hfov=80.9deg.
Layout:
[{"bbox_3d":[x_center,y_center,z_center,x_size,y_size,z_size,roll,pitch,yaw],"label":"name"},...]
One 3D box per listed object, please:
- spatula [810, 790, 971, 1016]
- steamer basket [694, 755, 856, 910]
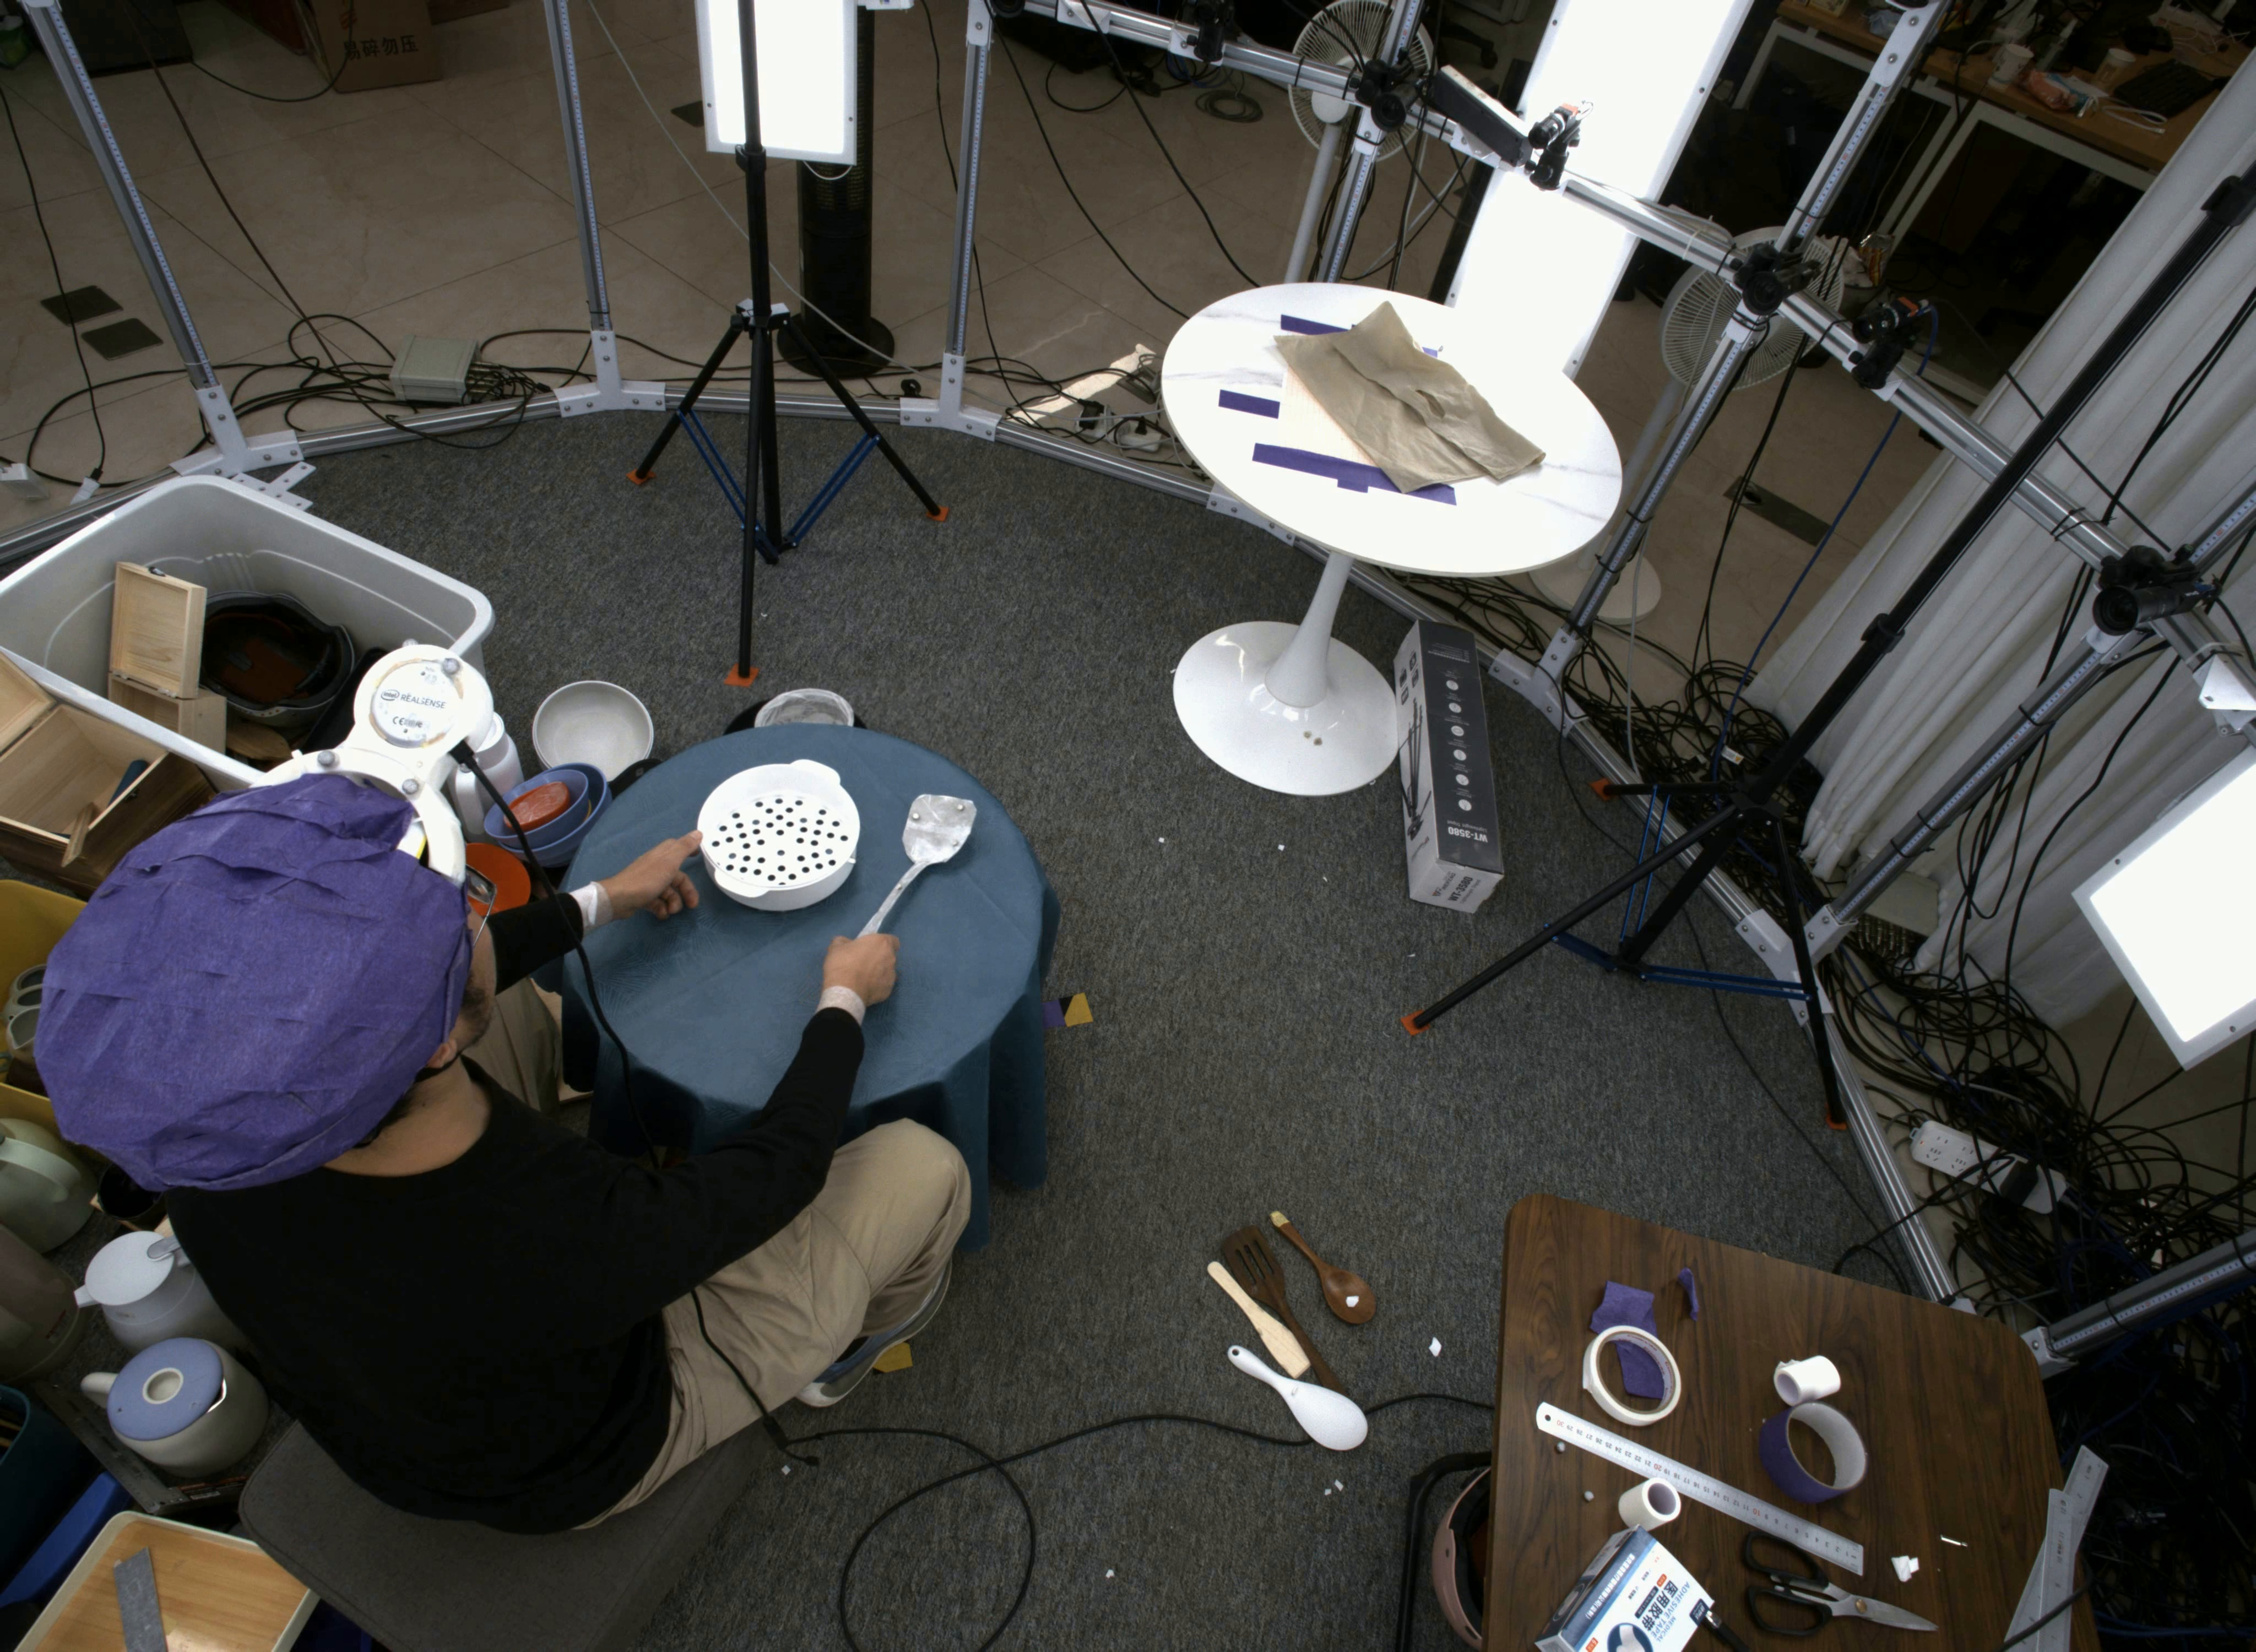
[{"bbox_3d":[-0.308,0.090,1.647,0.096,0.046,0.362,13,47,16],"label":"spatula"},{"bbox_3d":[-0.449,0.012,1.659,0.199,0.070,0.228,21,53,3],"label":"steamer basket"}]
